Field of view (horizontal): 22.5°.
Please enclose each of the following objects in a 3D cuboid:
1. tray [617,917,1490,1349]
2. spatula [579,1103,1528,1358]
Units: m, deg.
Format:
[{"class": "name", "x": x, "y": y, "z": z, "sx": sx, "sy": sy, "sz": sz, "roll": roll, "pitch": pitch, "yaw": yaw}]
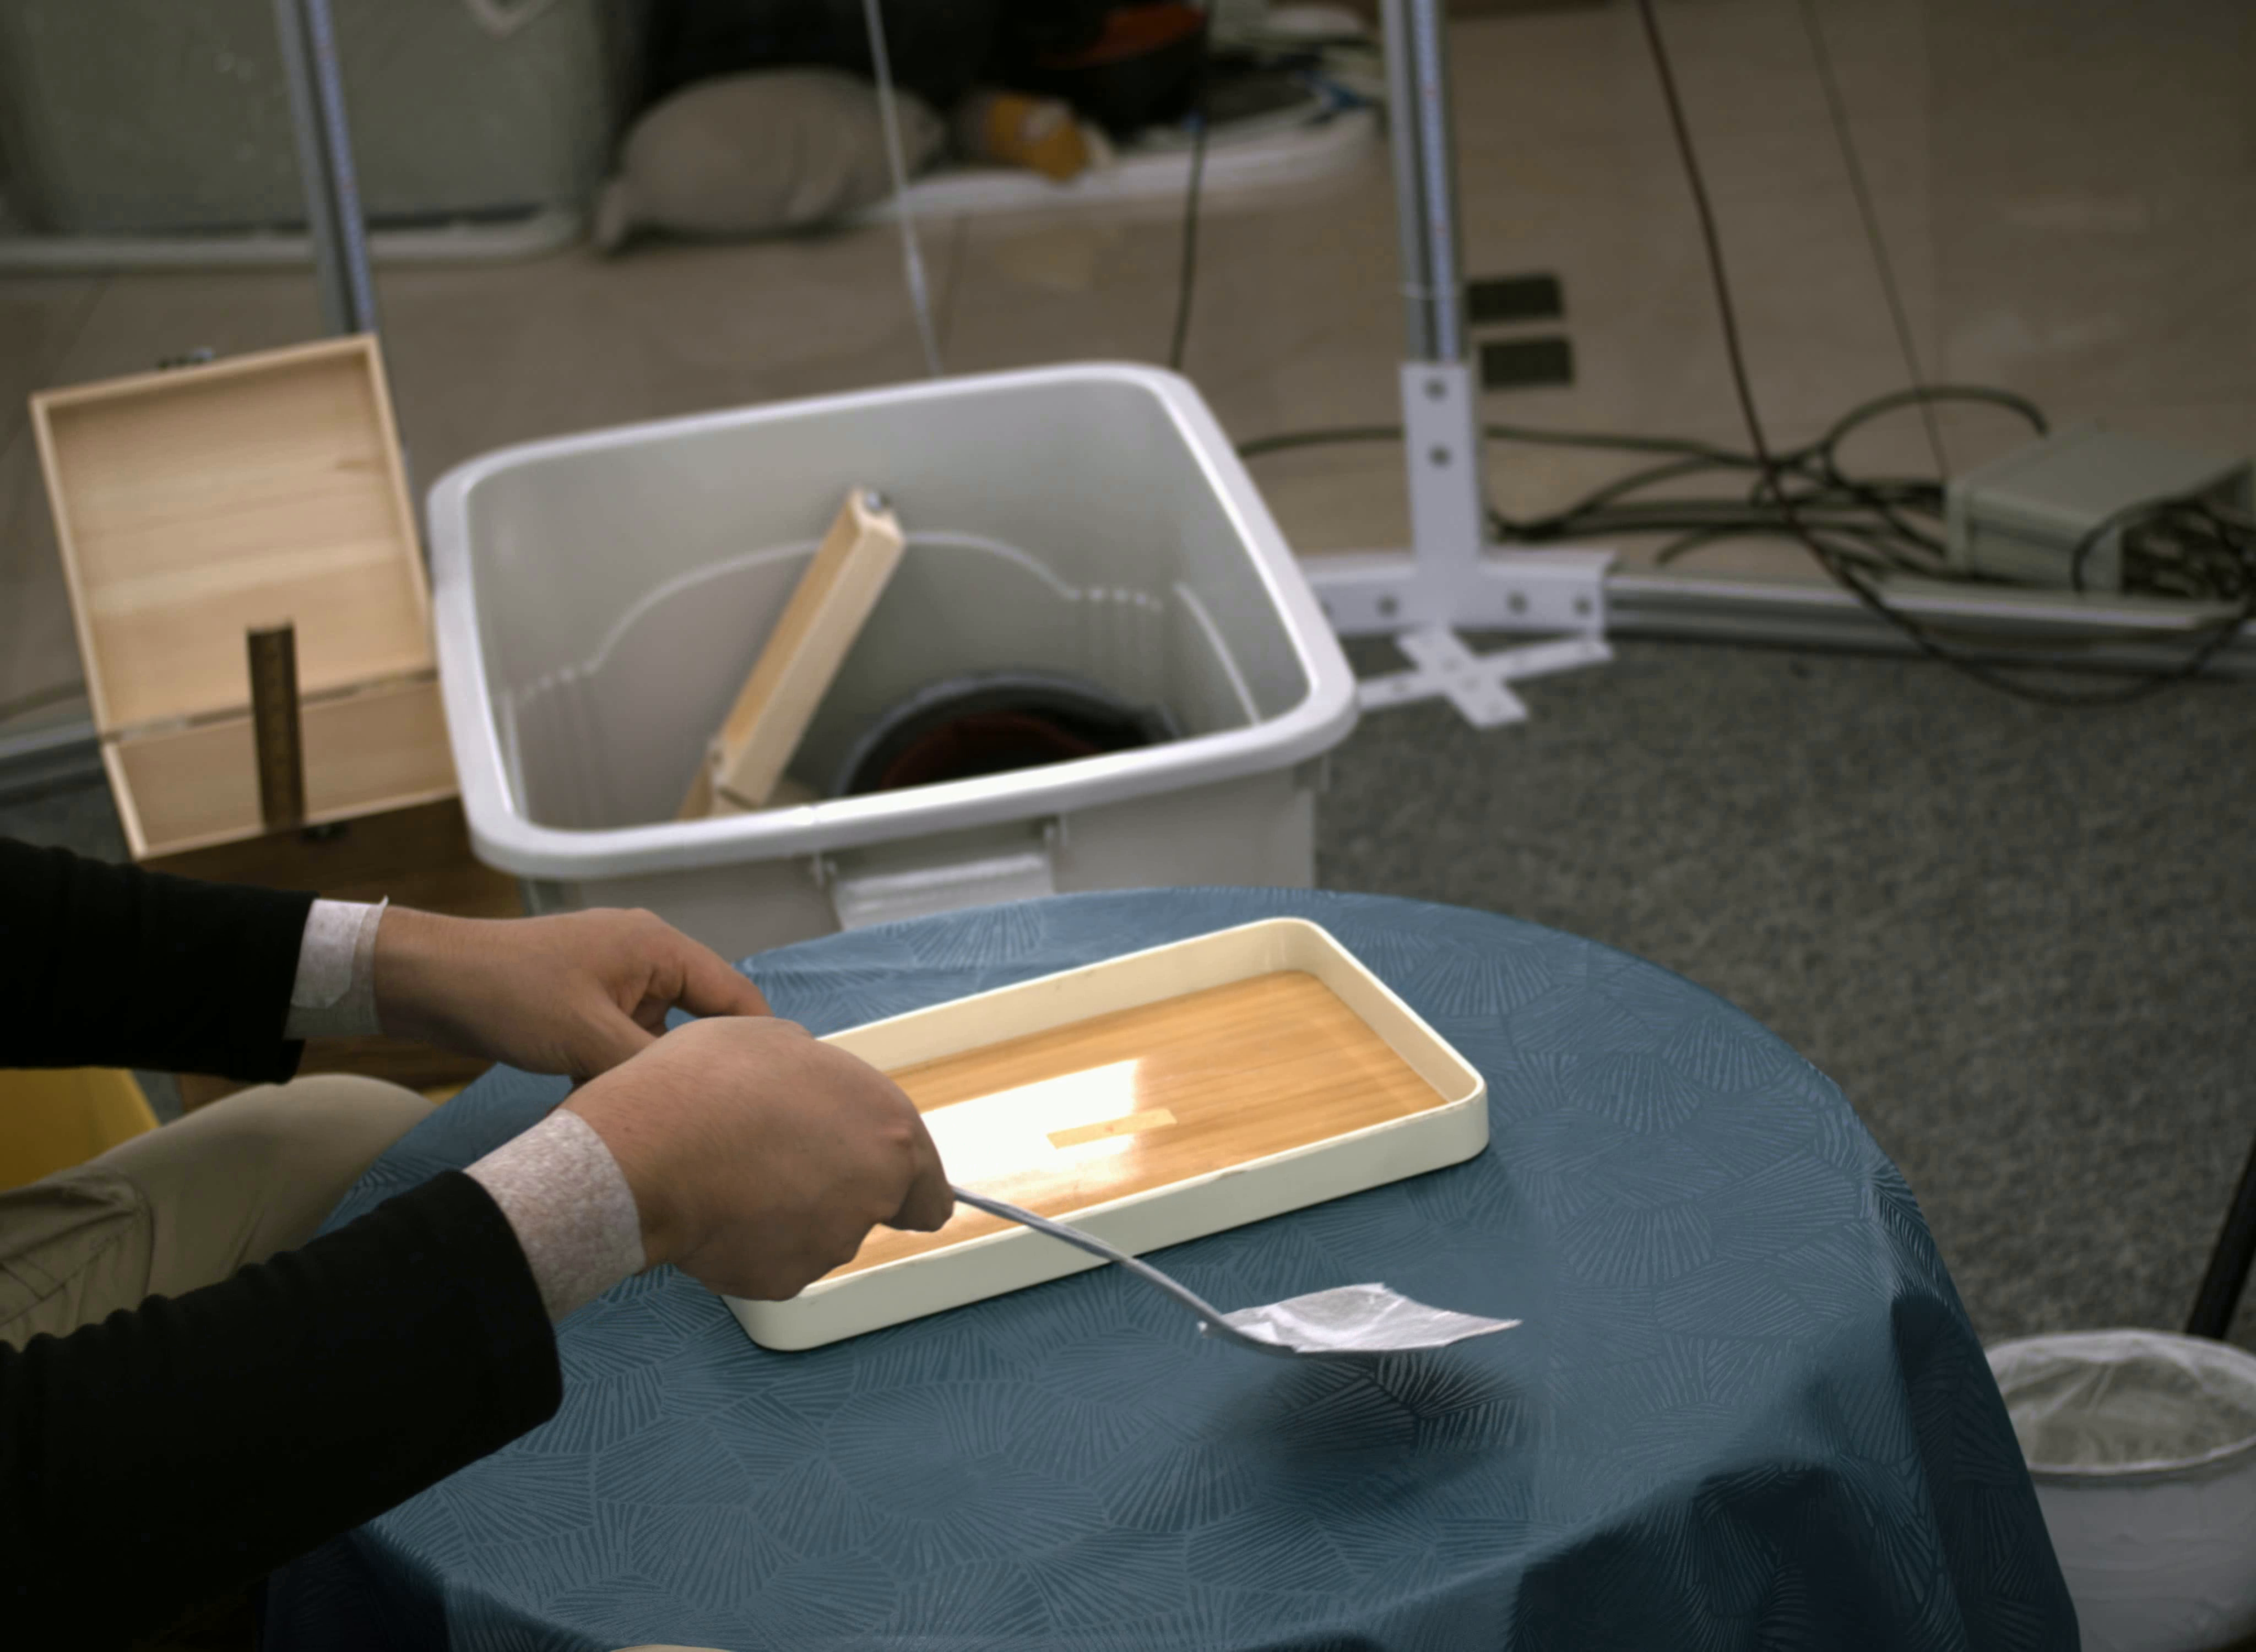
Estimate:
[{"class": "tray", "x": -0.030, "y": 0.114, "z": 2.175, "sx": 0.299, "sy": 0.028, "sz": 0.189, "roll": -15, "pitch": 26, "yaw": -17}, {"class": "spatula", "x": -0.023, "y": 0.130, "z": 1.894, "sx": 0.367, "sy": 0.044, "sz": 0.098, "roll": 23, "pitch": -8, "yaw": -35}]
